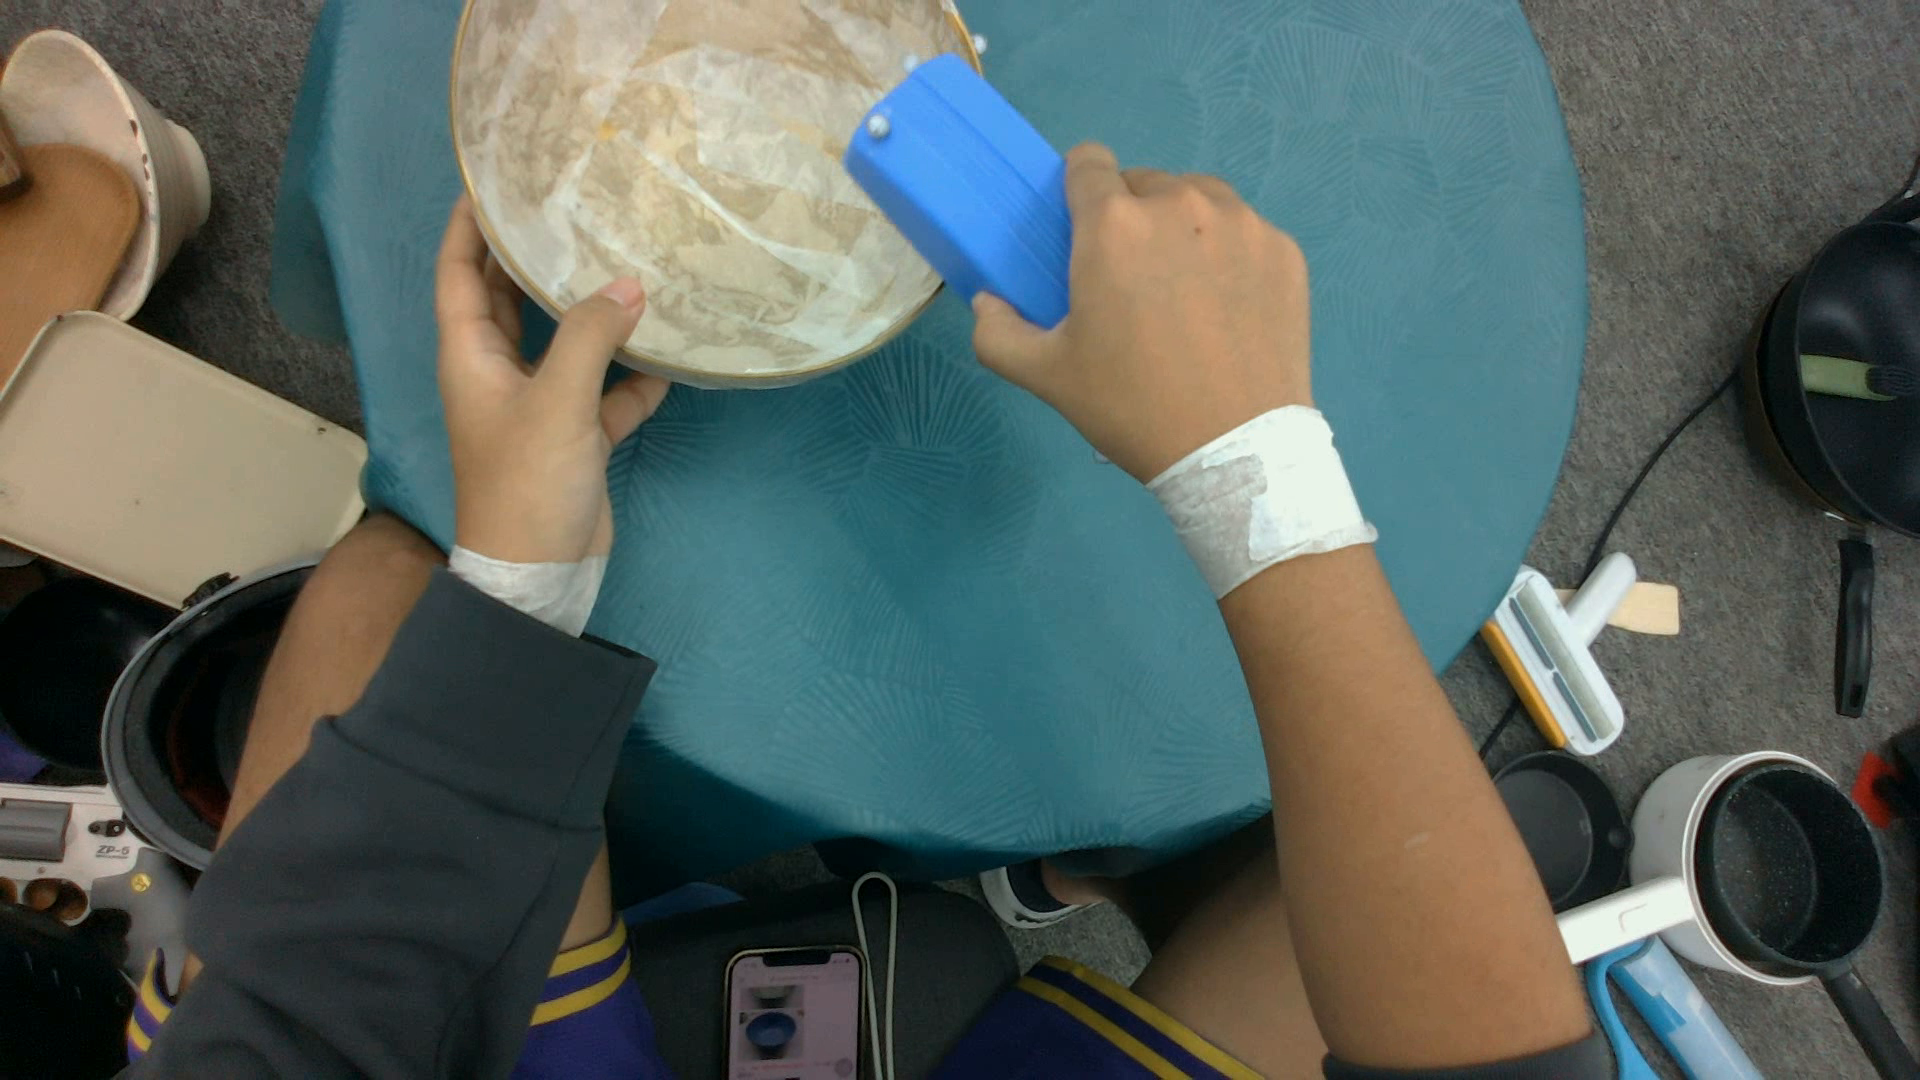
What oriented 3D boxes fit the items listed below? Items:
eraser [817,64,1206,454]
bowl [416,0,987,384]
[{"bbox_3d":[0.021,-0.105,0.512,0.162,0.047,0.054,43,75,-6],"label":"eraser"},{"bbox_3d":[-0.101,-0.152,0.552,0.215,0.094,0.215,3,81,-17],"label":"bowl"}]
